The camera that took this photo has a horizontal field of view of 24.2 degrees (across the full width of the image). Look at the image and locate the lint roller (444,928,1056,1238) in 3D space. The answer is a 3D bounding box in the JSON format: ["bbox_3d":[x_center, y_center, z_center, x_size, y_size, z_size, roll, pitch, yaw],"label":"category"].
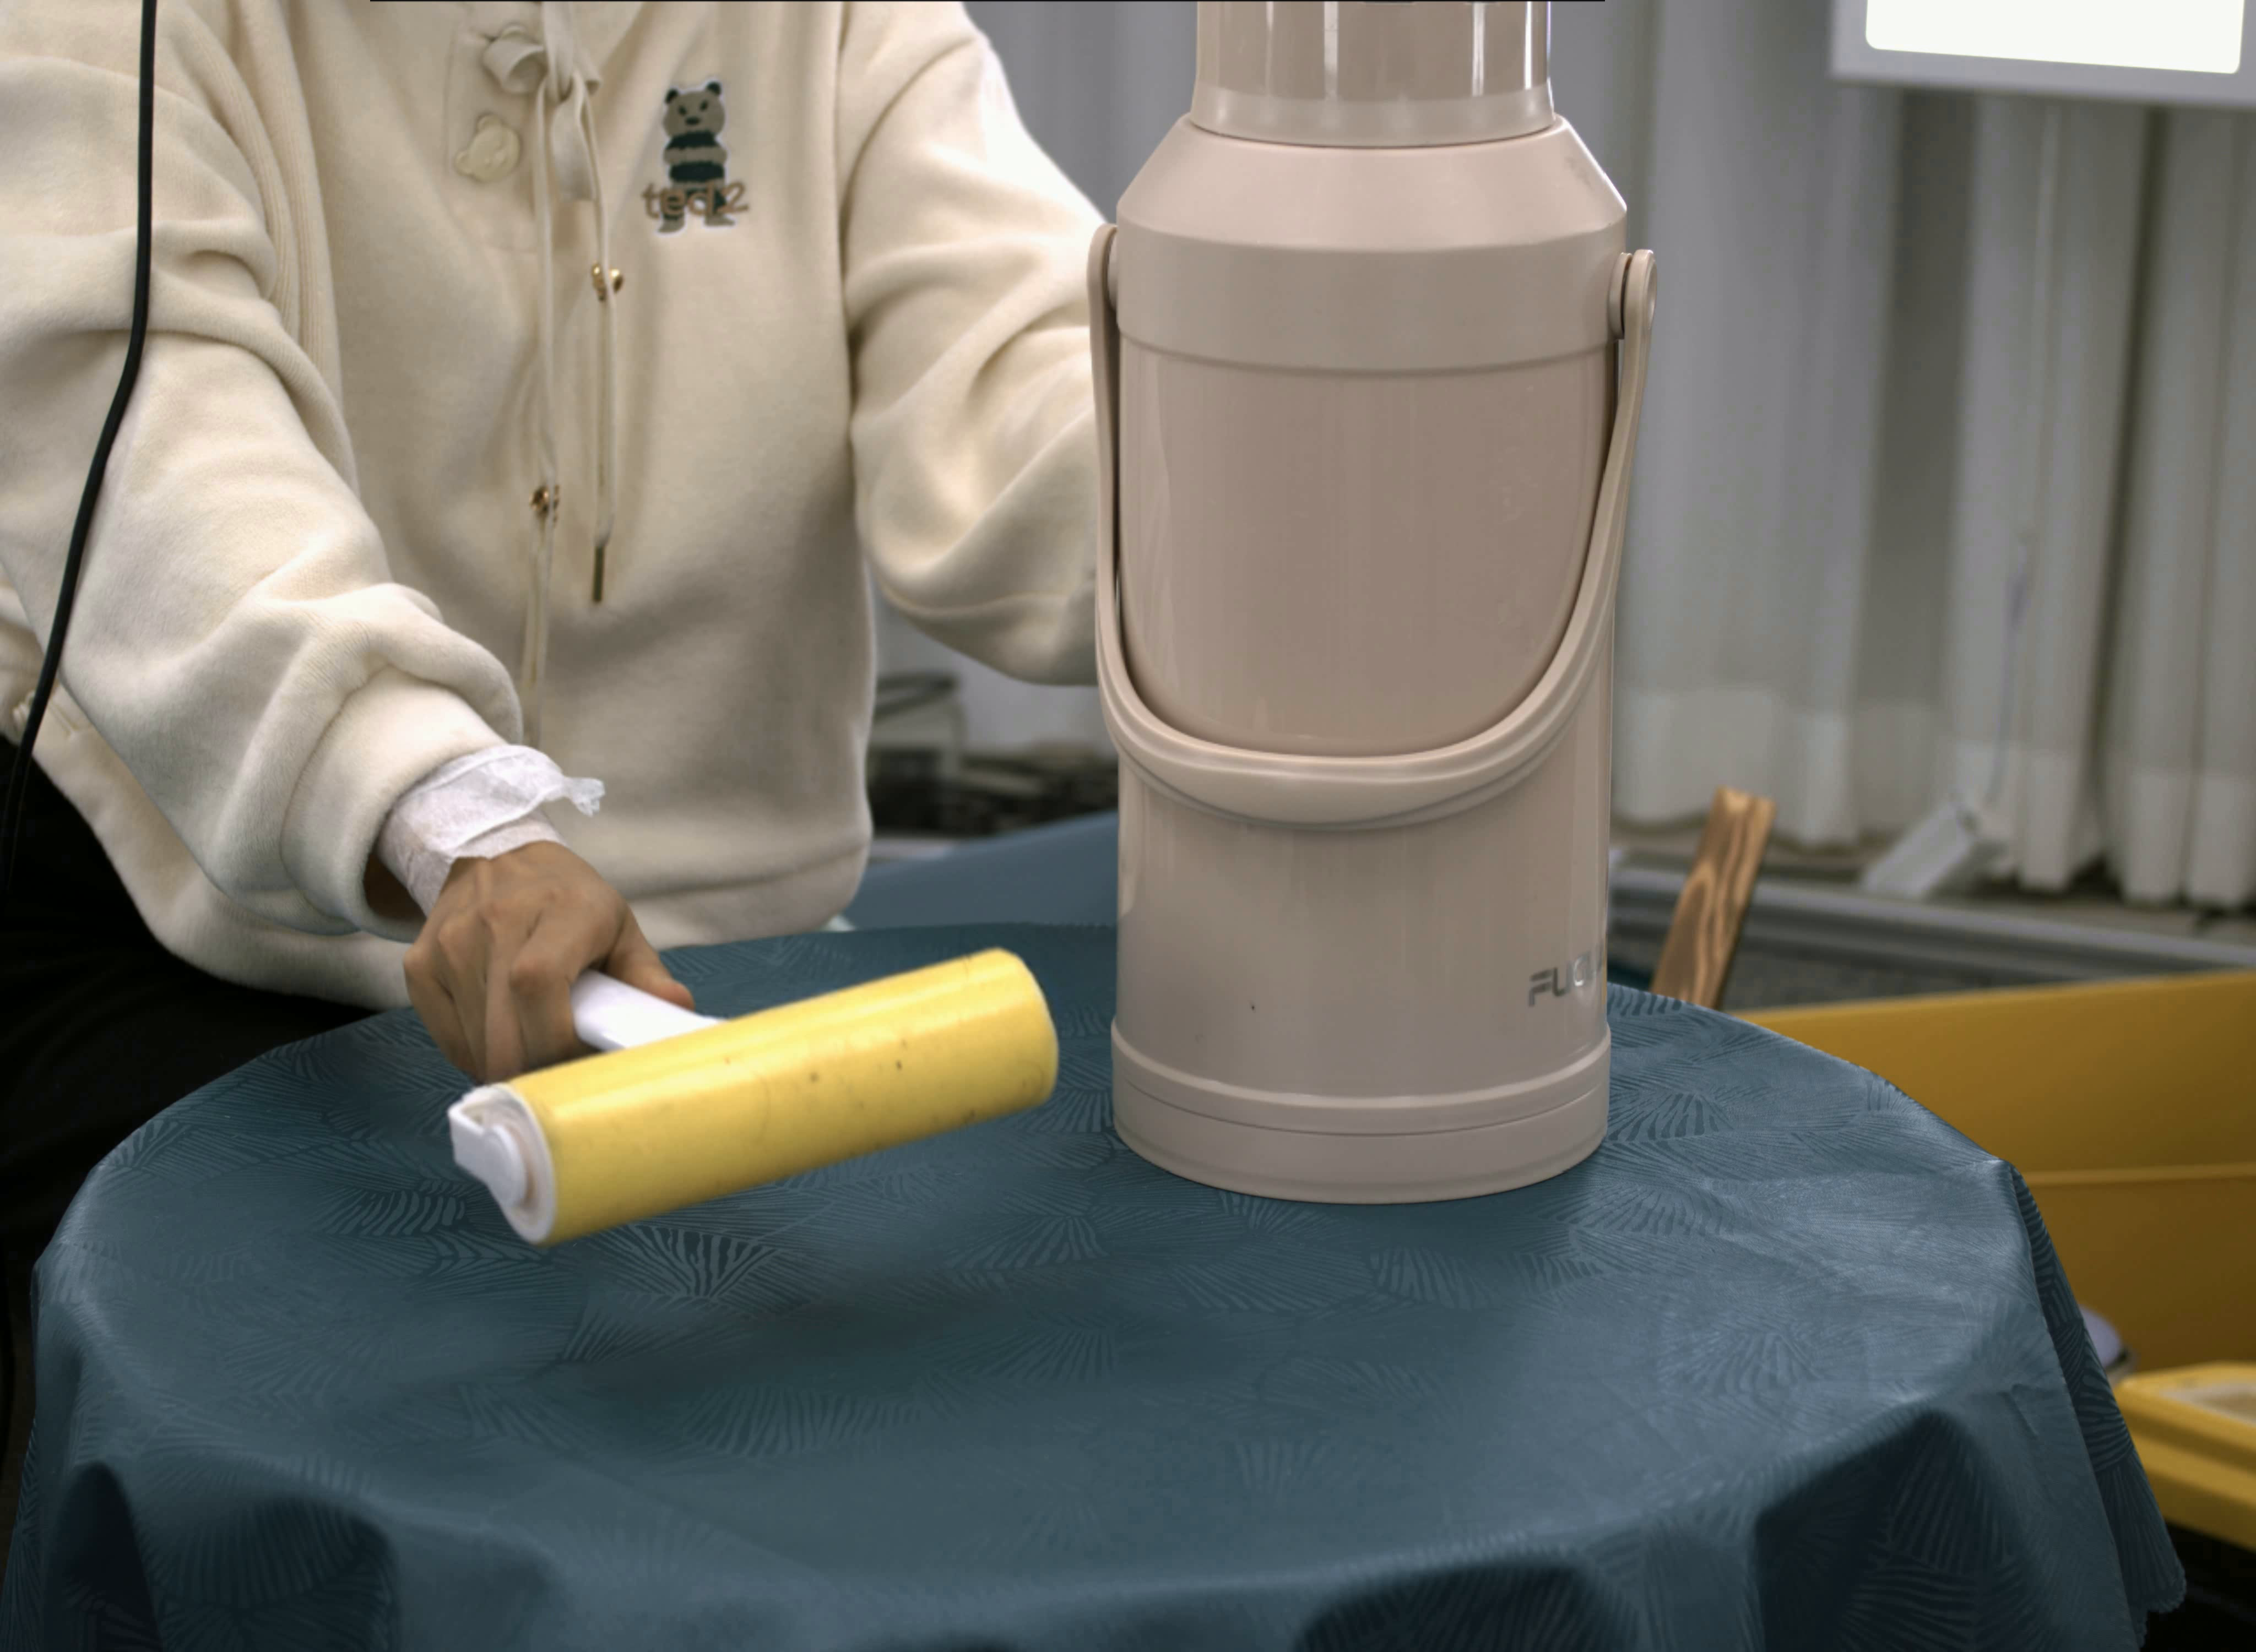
[{"bbox_3d":[-0.140,0.050,1.526,0.175,0.052,0.189,-15,29,-31],"label":"lint roller"}]

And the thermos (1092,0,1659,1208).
[{"bbox_3d":[0.079,-0.099,1.641,0.174,0.409,0.207,4,16,15],"label":"thermos"}]
